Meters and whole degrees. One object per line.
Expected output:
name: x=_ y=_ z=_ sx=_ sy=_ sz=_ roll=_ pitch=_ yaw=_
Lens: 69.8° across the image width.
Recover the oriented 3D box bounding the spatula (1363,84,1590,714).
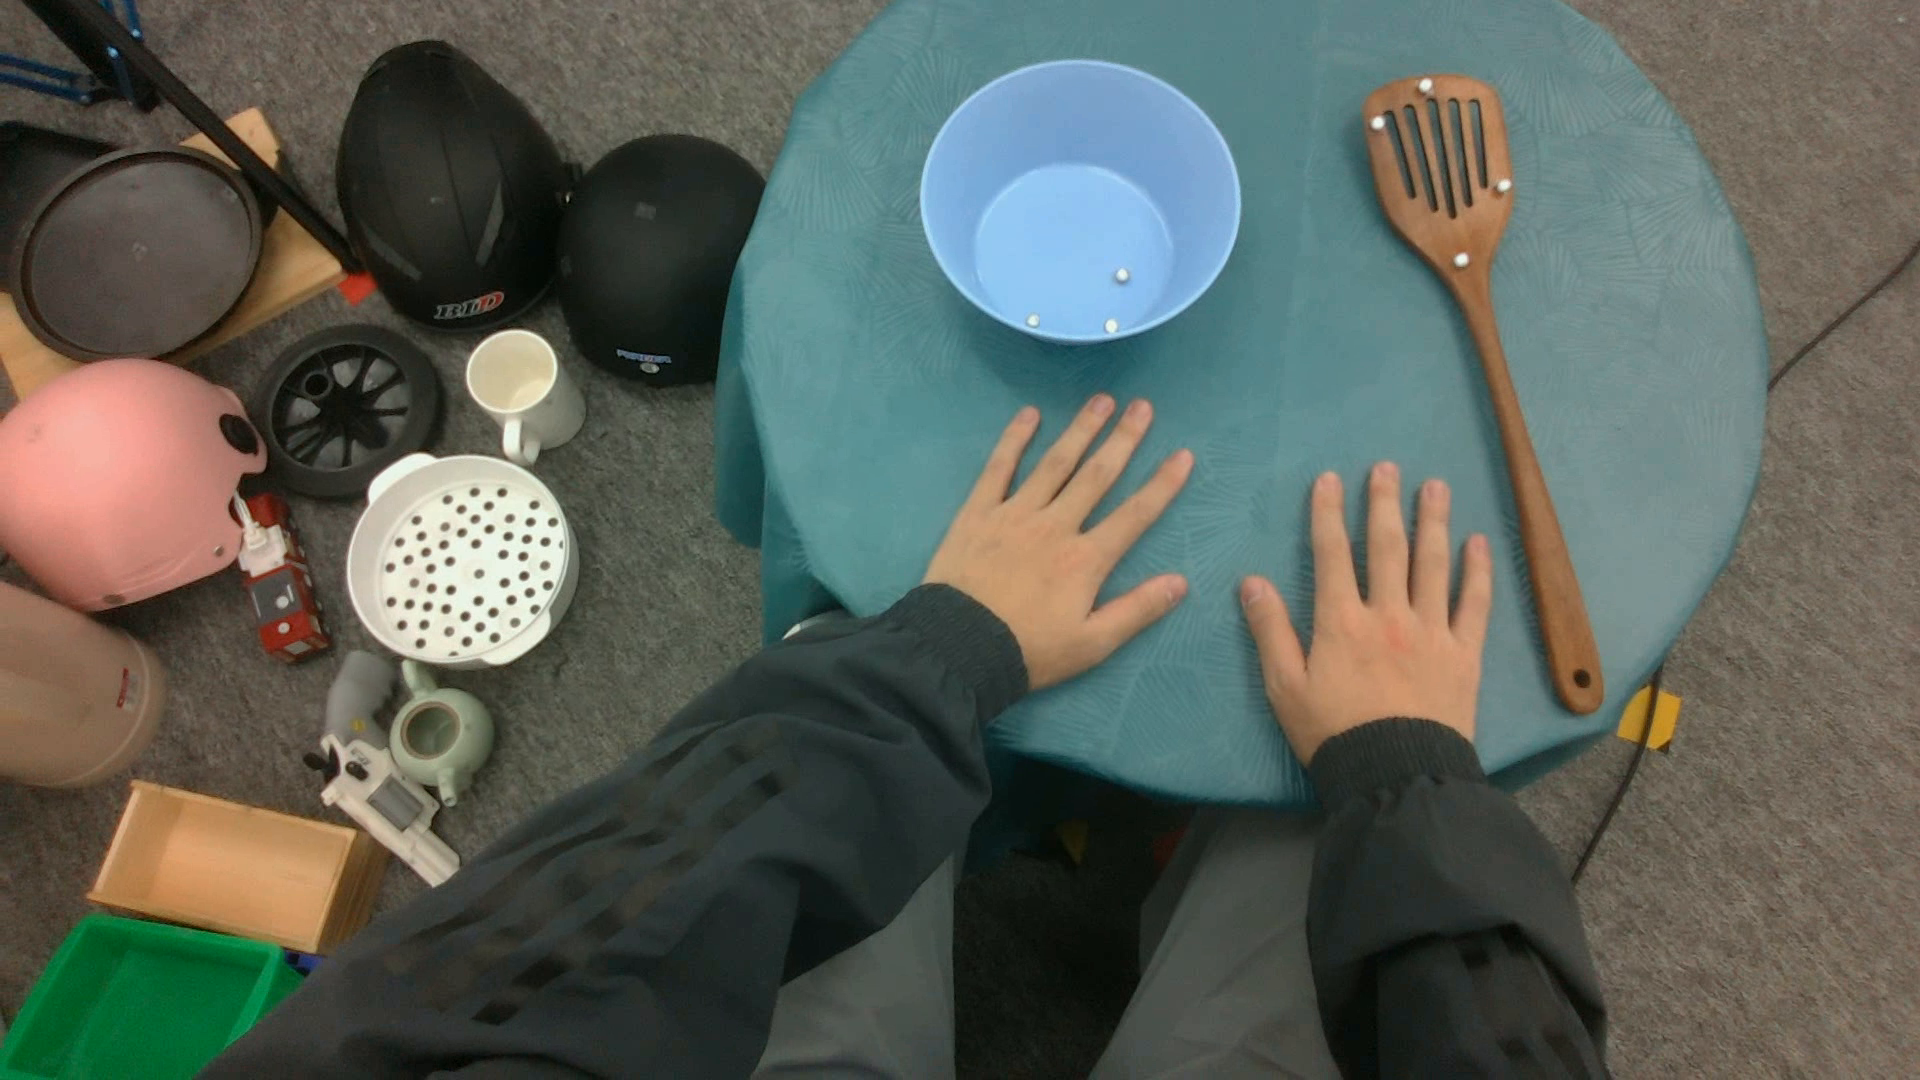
spatula: x=0.306 y=-0.091 z=0.793 sx=0.085 sy=0.024 sz=0.387 roll=-7 pitch=73 yaw=0

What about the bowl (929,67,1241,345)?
bowl: x=0.071 y=-0.181 z=0.801 sx=0.176 sy=0.070 sz=0.176 roll=0 pitch=73 yaw=1
